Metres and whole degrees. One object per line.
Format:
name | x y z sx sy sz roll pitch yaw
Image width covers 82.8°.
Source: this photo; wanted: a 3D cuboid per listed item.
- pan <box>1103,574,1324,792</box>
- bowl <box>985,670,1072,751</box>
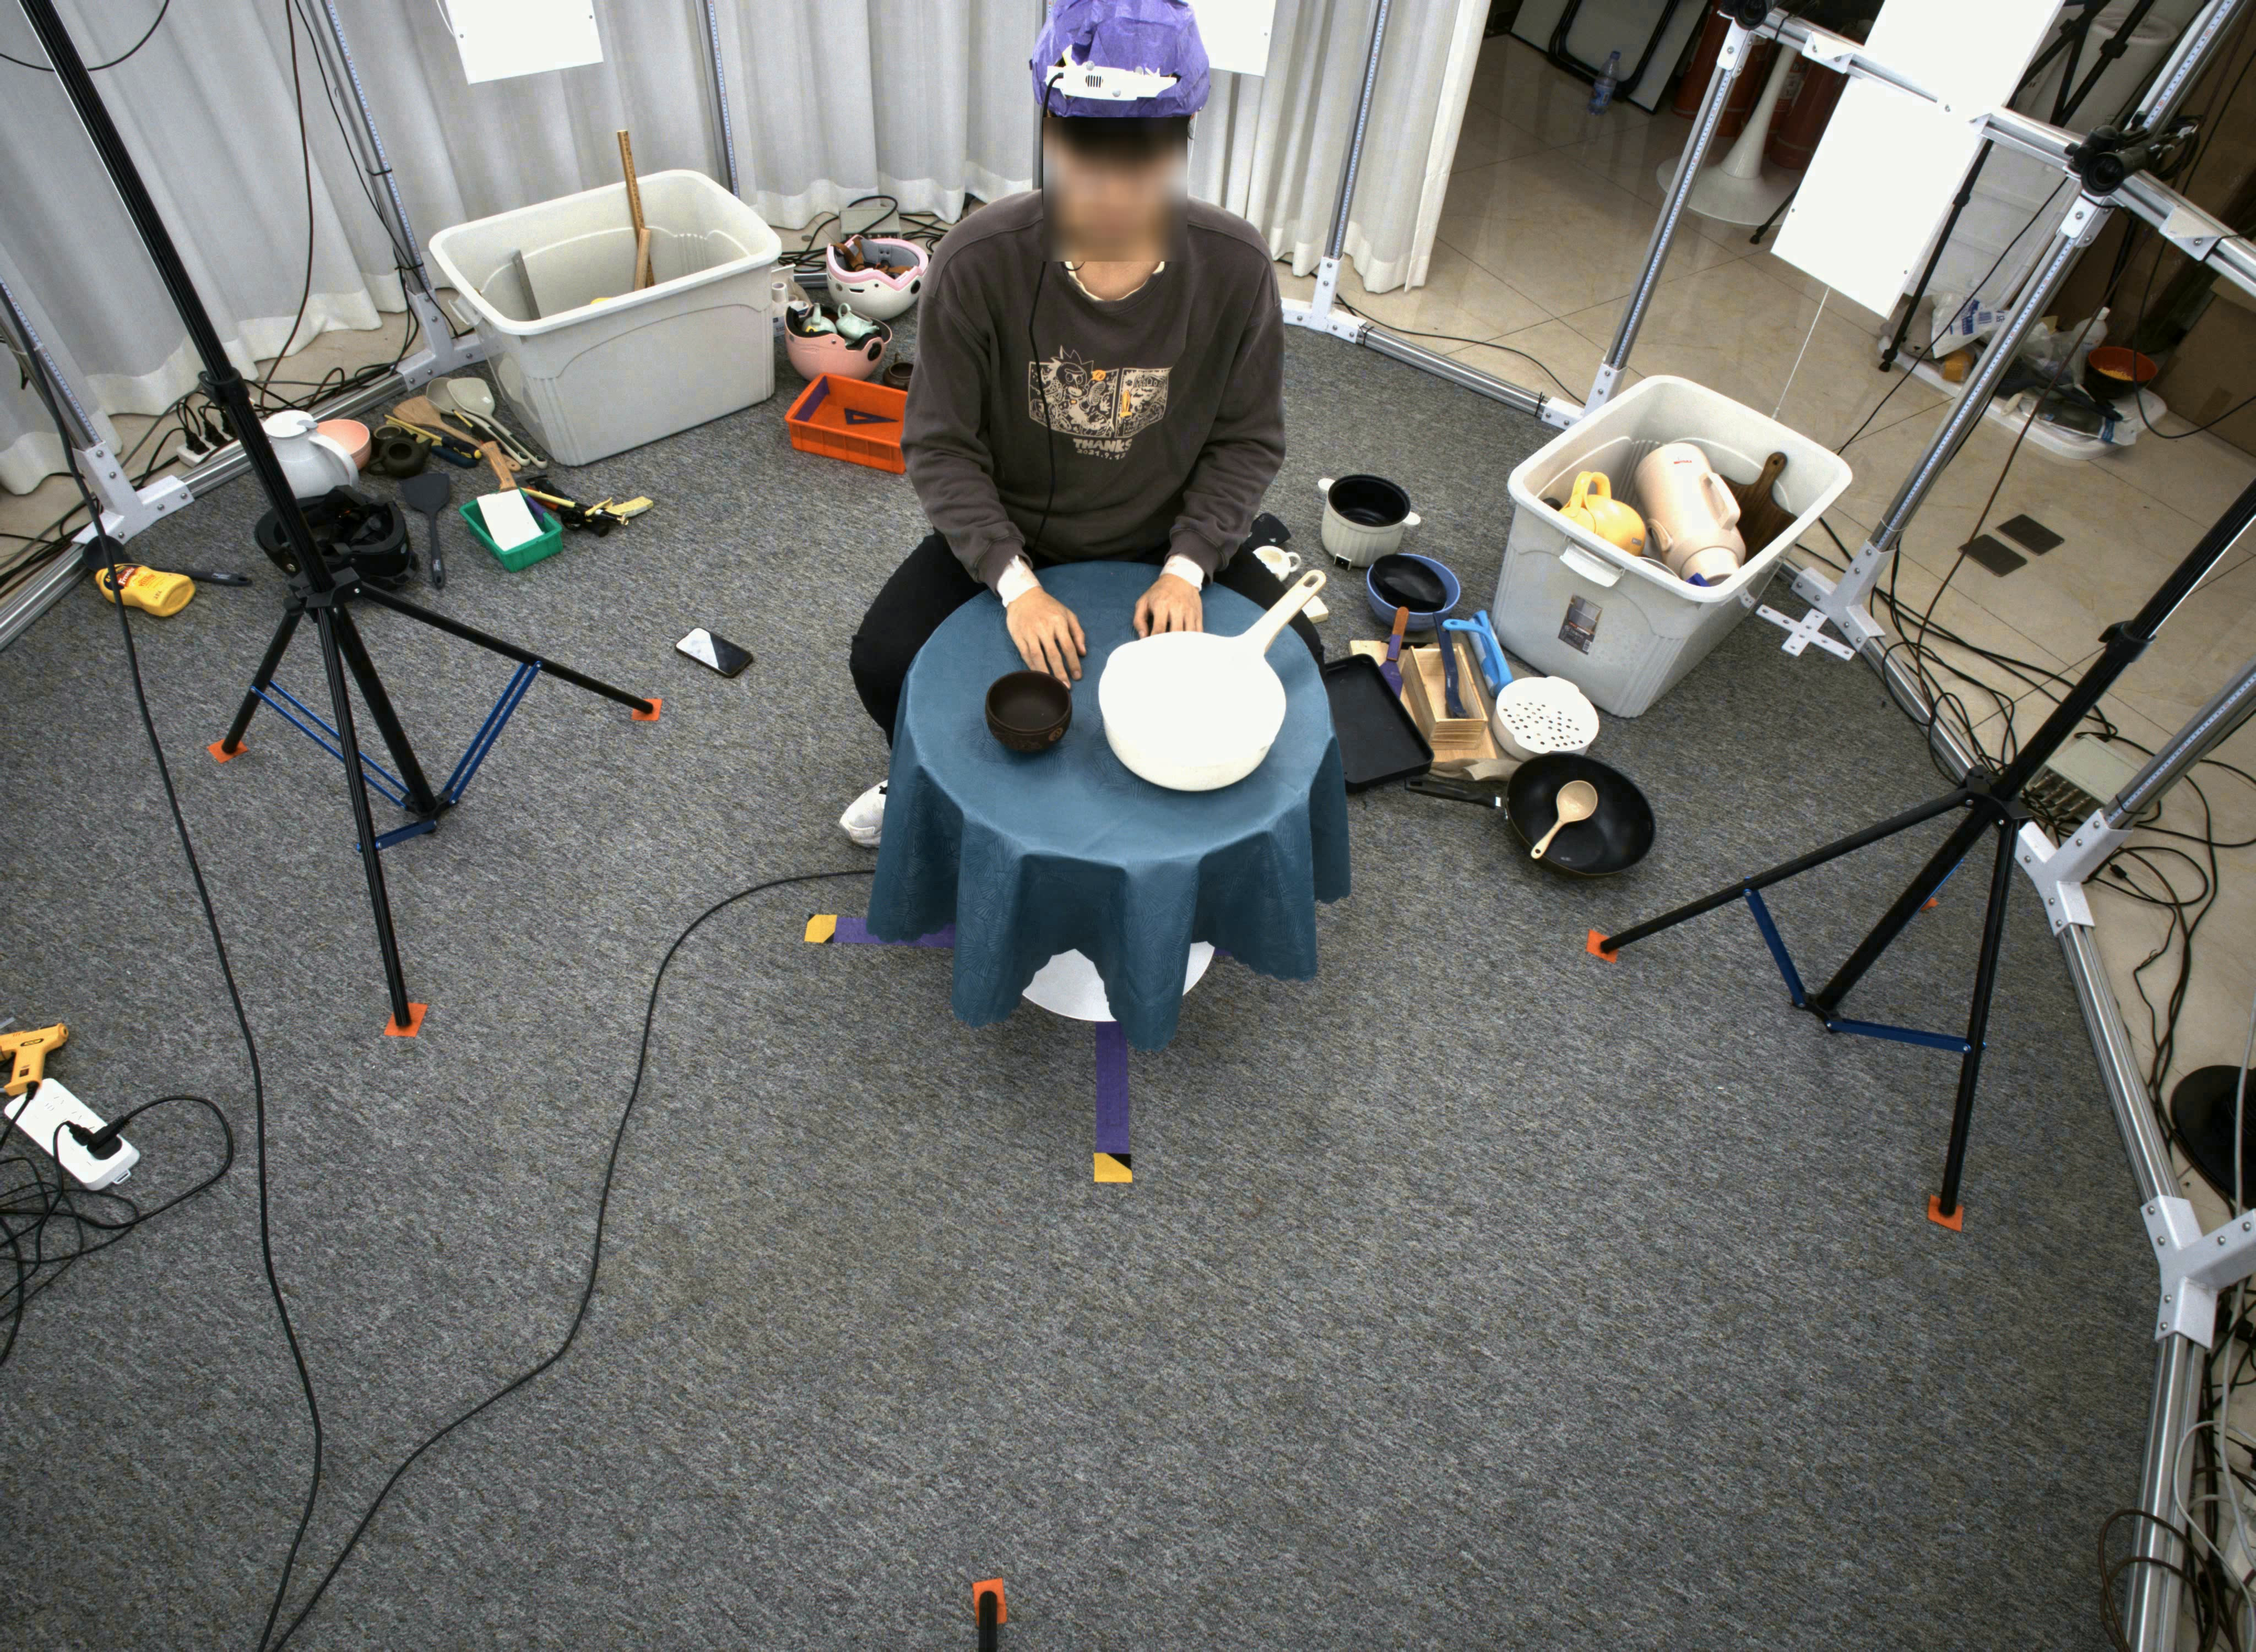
pan | 0.147 -0.207 1.791 0.266 0.099 0.440 31 54 24
bowl | -0.134 -0.148 1.740 0.118 0.068 0.121 1 48 -1
